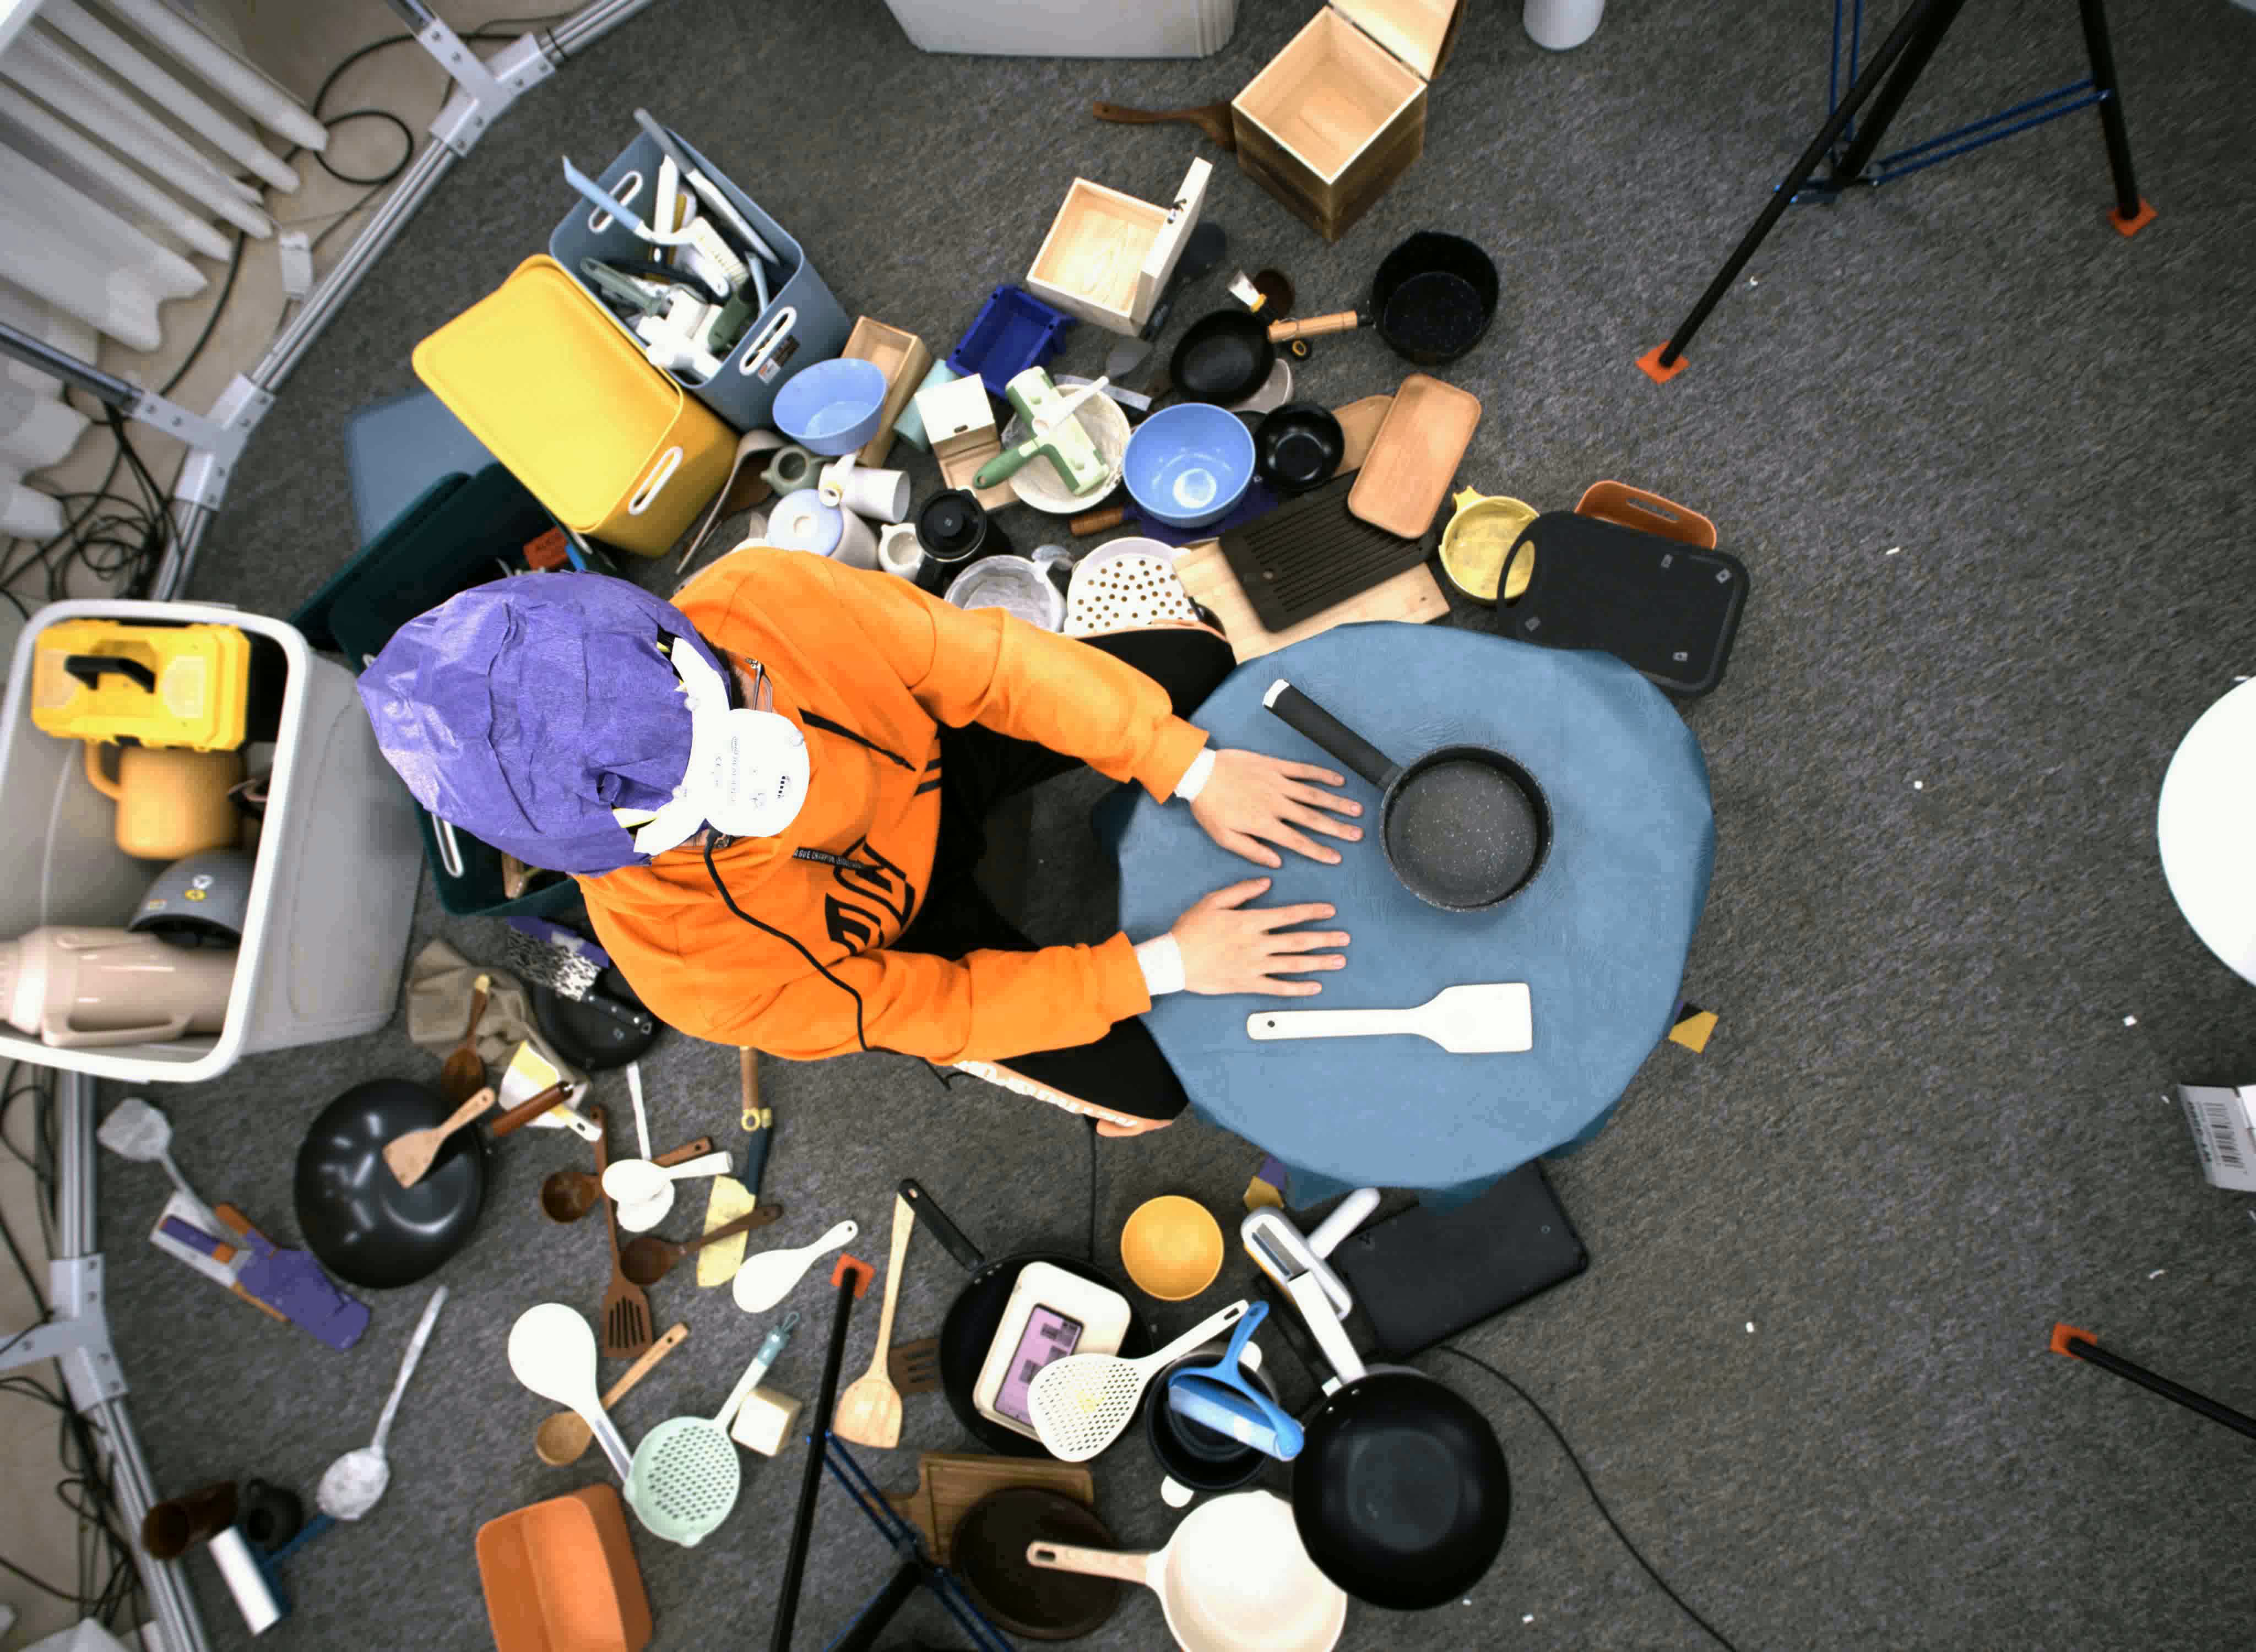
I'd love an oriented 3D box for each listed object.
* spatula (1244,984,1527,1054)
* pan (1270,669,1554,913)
[{"bbox_3d":[0.268,0.203,1.448,0.294,0.010,0.072,-3,90,10],"label":"spatula"},{"bbox_3d":[0.283,-0.046,1.421,0.328,0.086,0.172,39,93,9],"label":"pan"}]
